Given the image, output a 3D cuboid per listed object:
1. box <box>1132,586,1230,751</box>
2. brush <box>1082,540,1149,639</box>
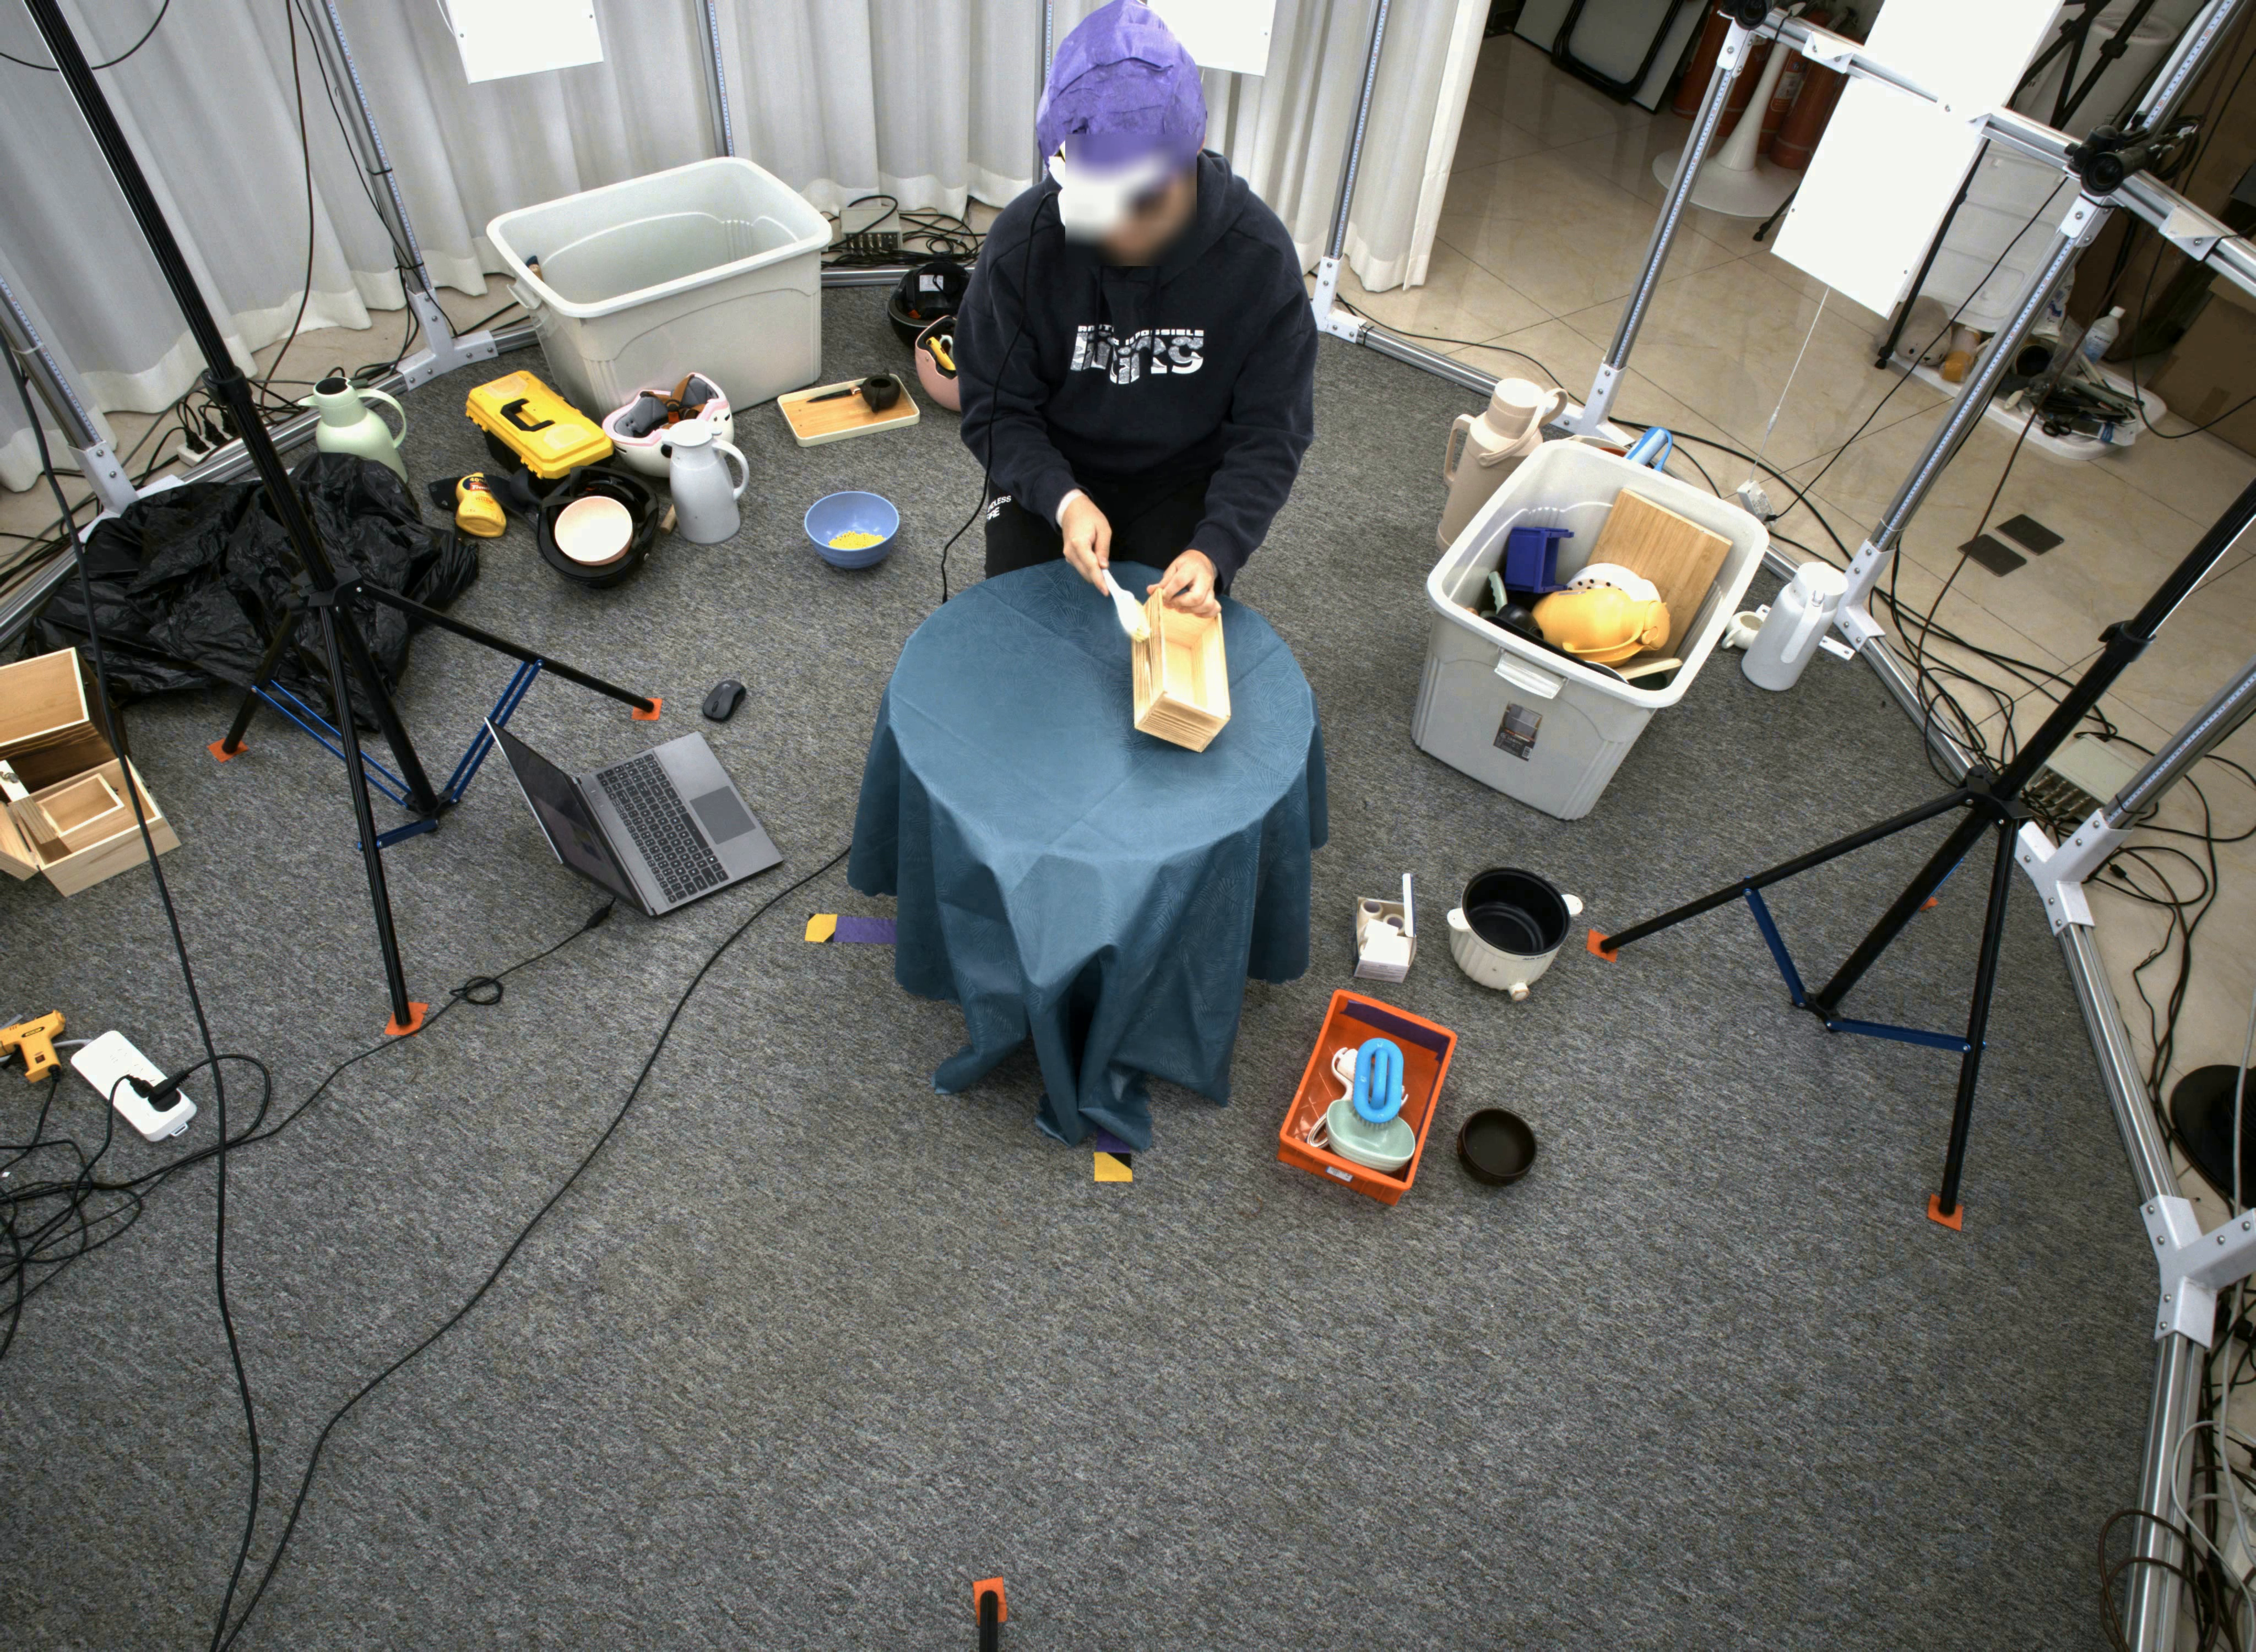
[{"bbox_3d":[0.071,-0.220,1.787,0.106,0.079,0.217,19,46,-22],"label":"box"},{"bbox_3d":[-0.019,-0.343,1.858,0.049,0.037,0.234,11,36,-34],"label":"brush"}]
